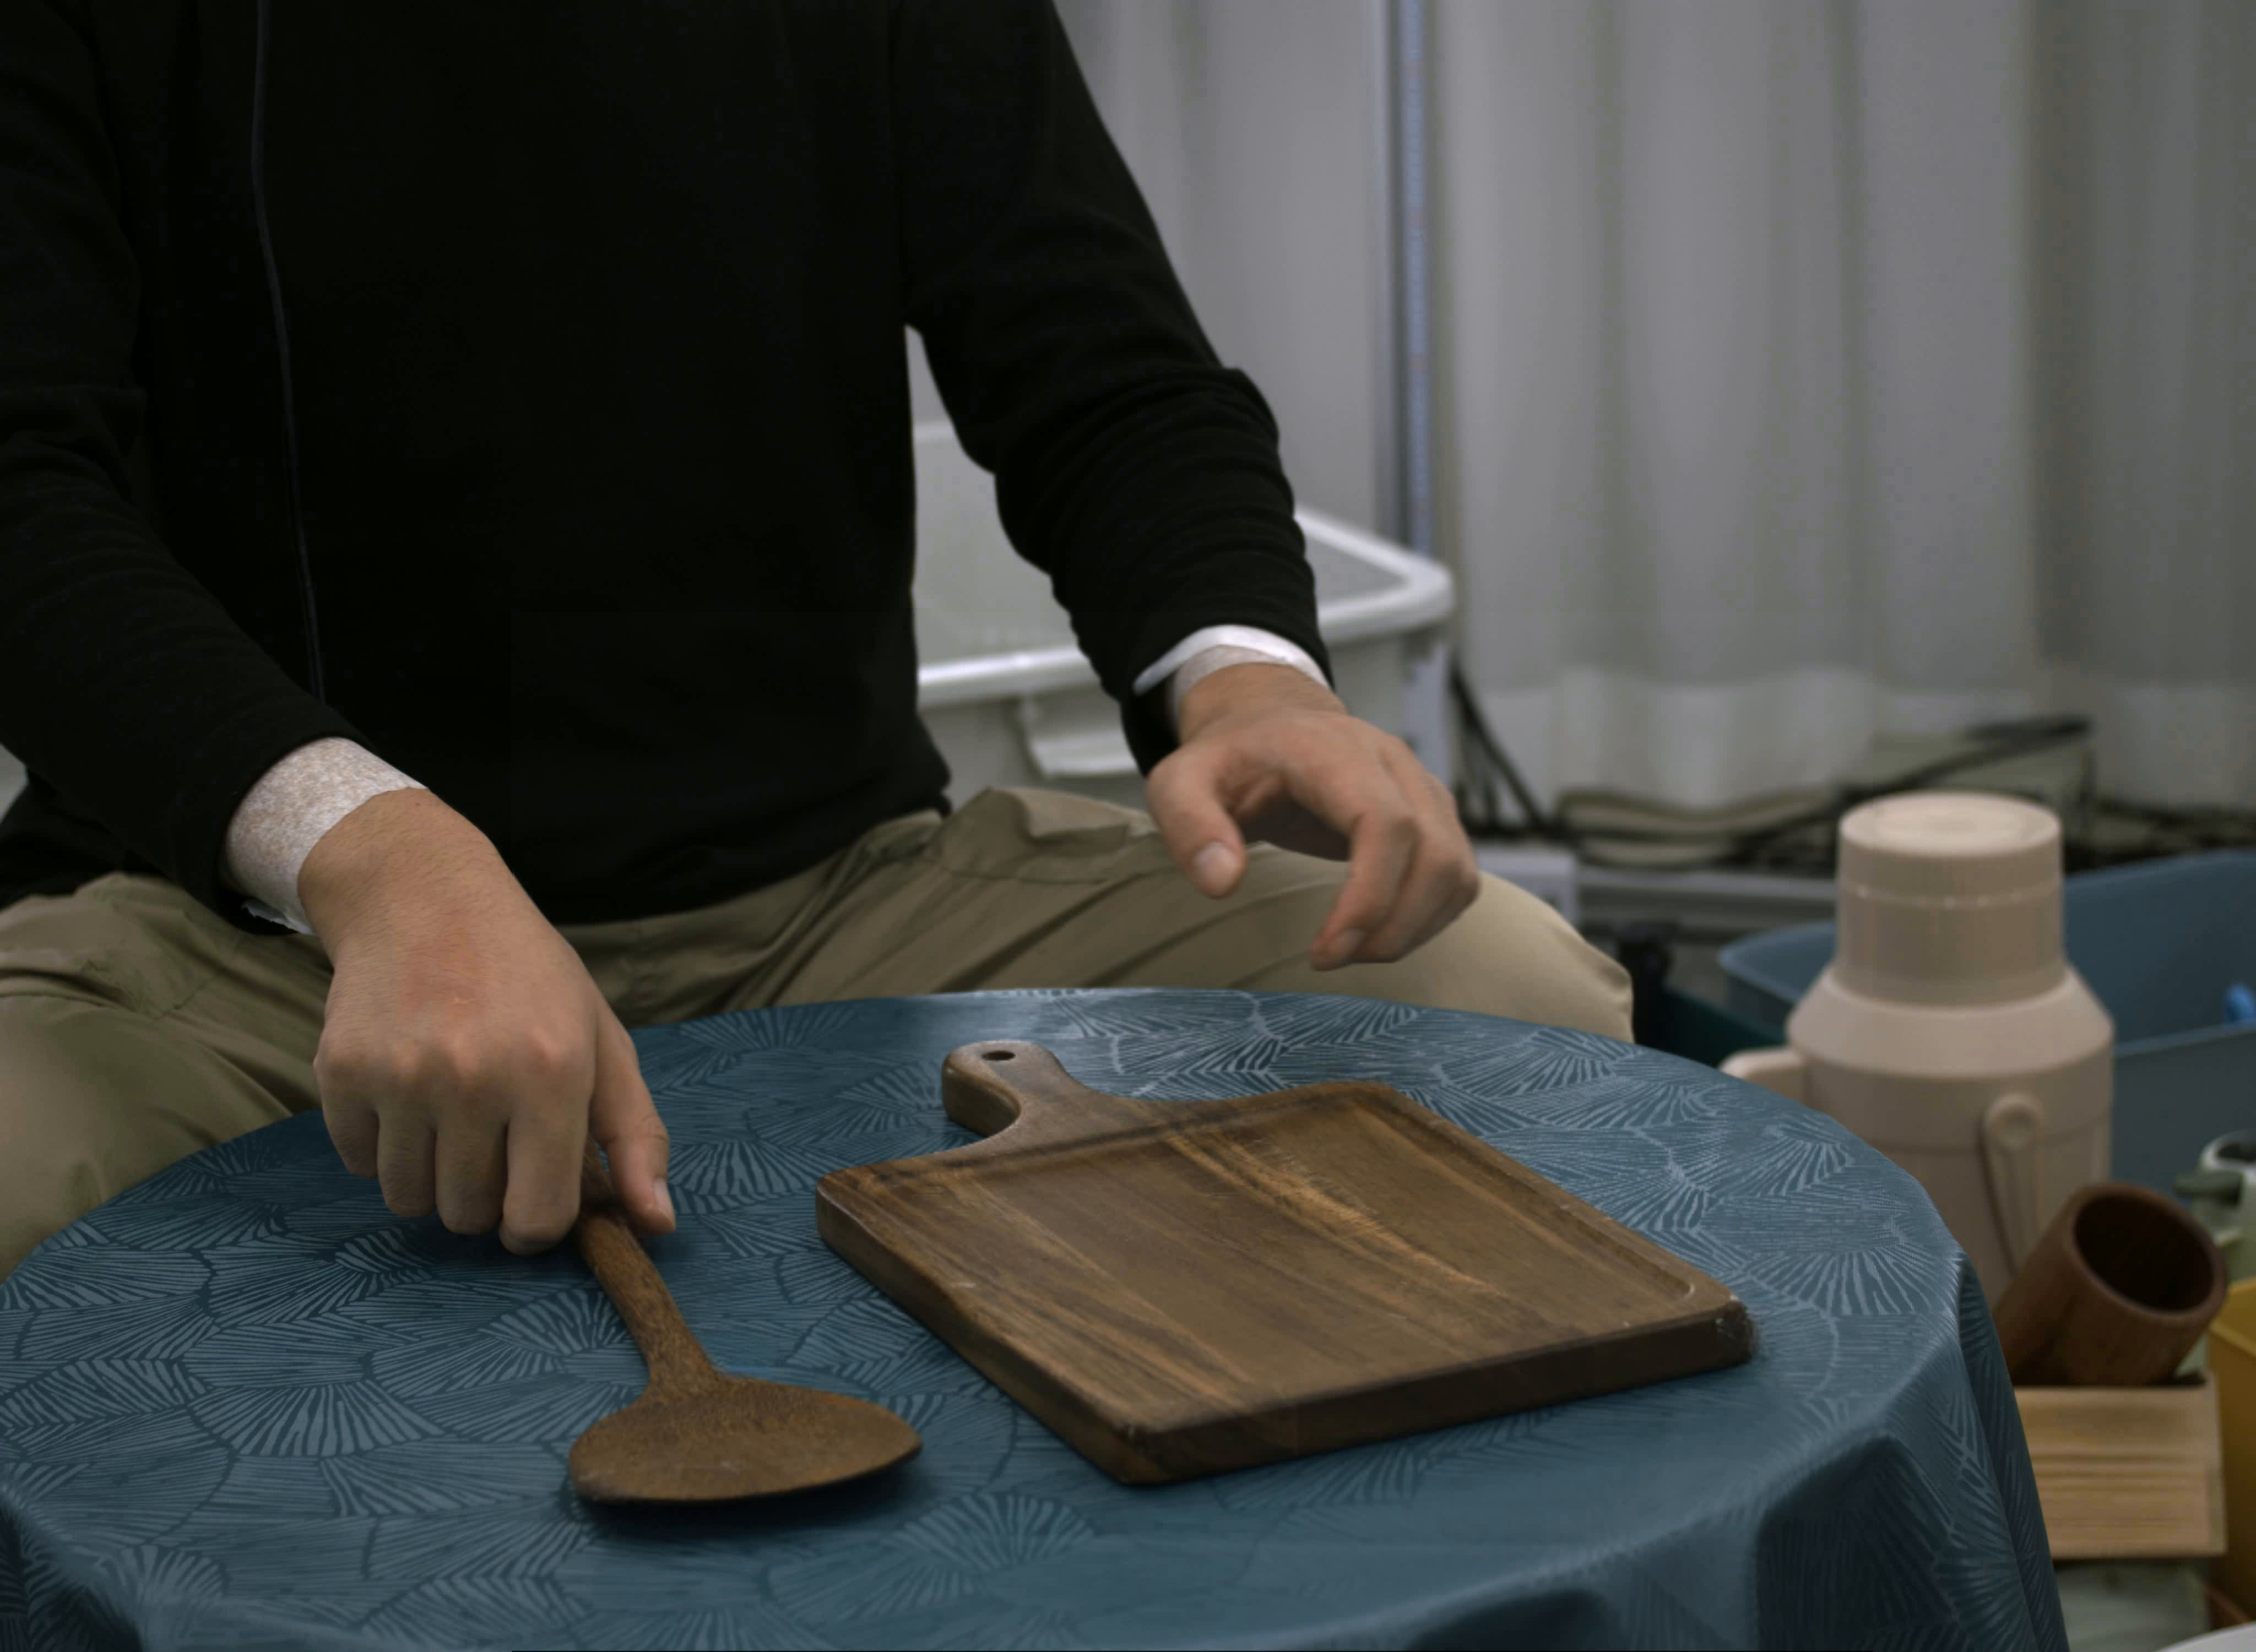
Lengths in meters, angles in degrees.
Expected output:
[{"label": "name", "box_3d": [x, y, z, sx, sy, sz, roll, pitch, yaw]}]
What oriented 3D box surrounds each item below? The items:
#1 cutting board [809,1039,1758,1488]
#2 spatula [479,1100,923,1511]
[{"label": "cutting board", "box_3d": [0.020, 0.118, 1.656, 0.200, 0.023, 0.355, -9, 16, -22]}, {"label": "spatula", "box_3d": [-0.149, 0.136, 1.631, 0.095, 0.016, 0.389, -5, 15, -15]}]
